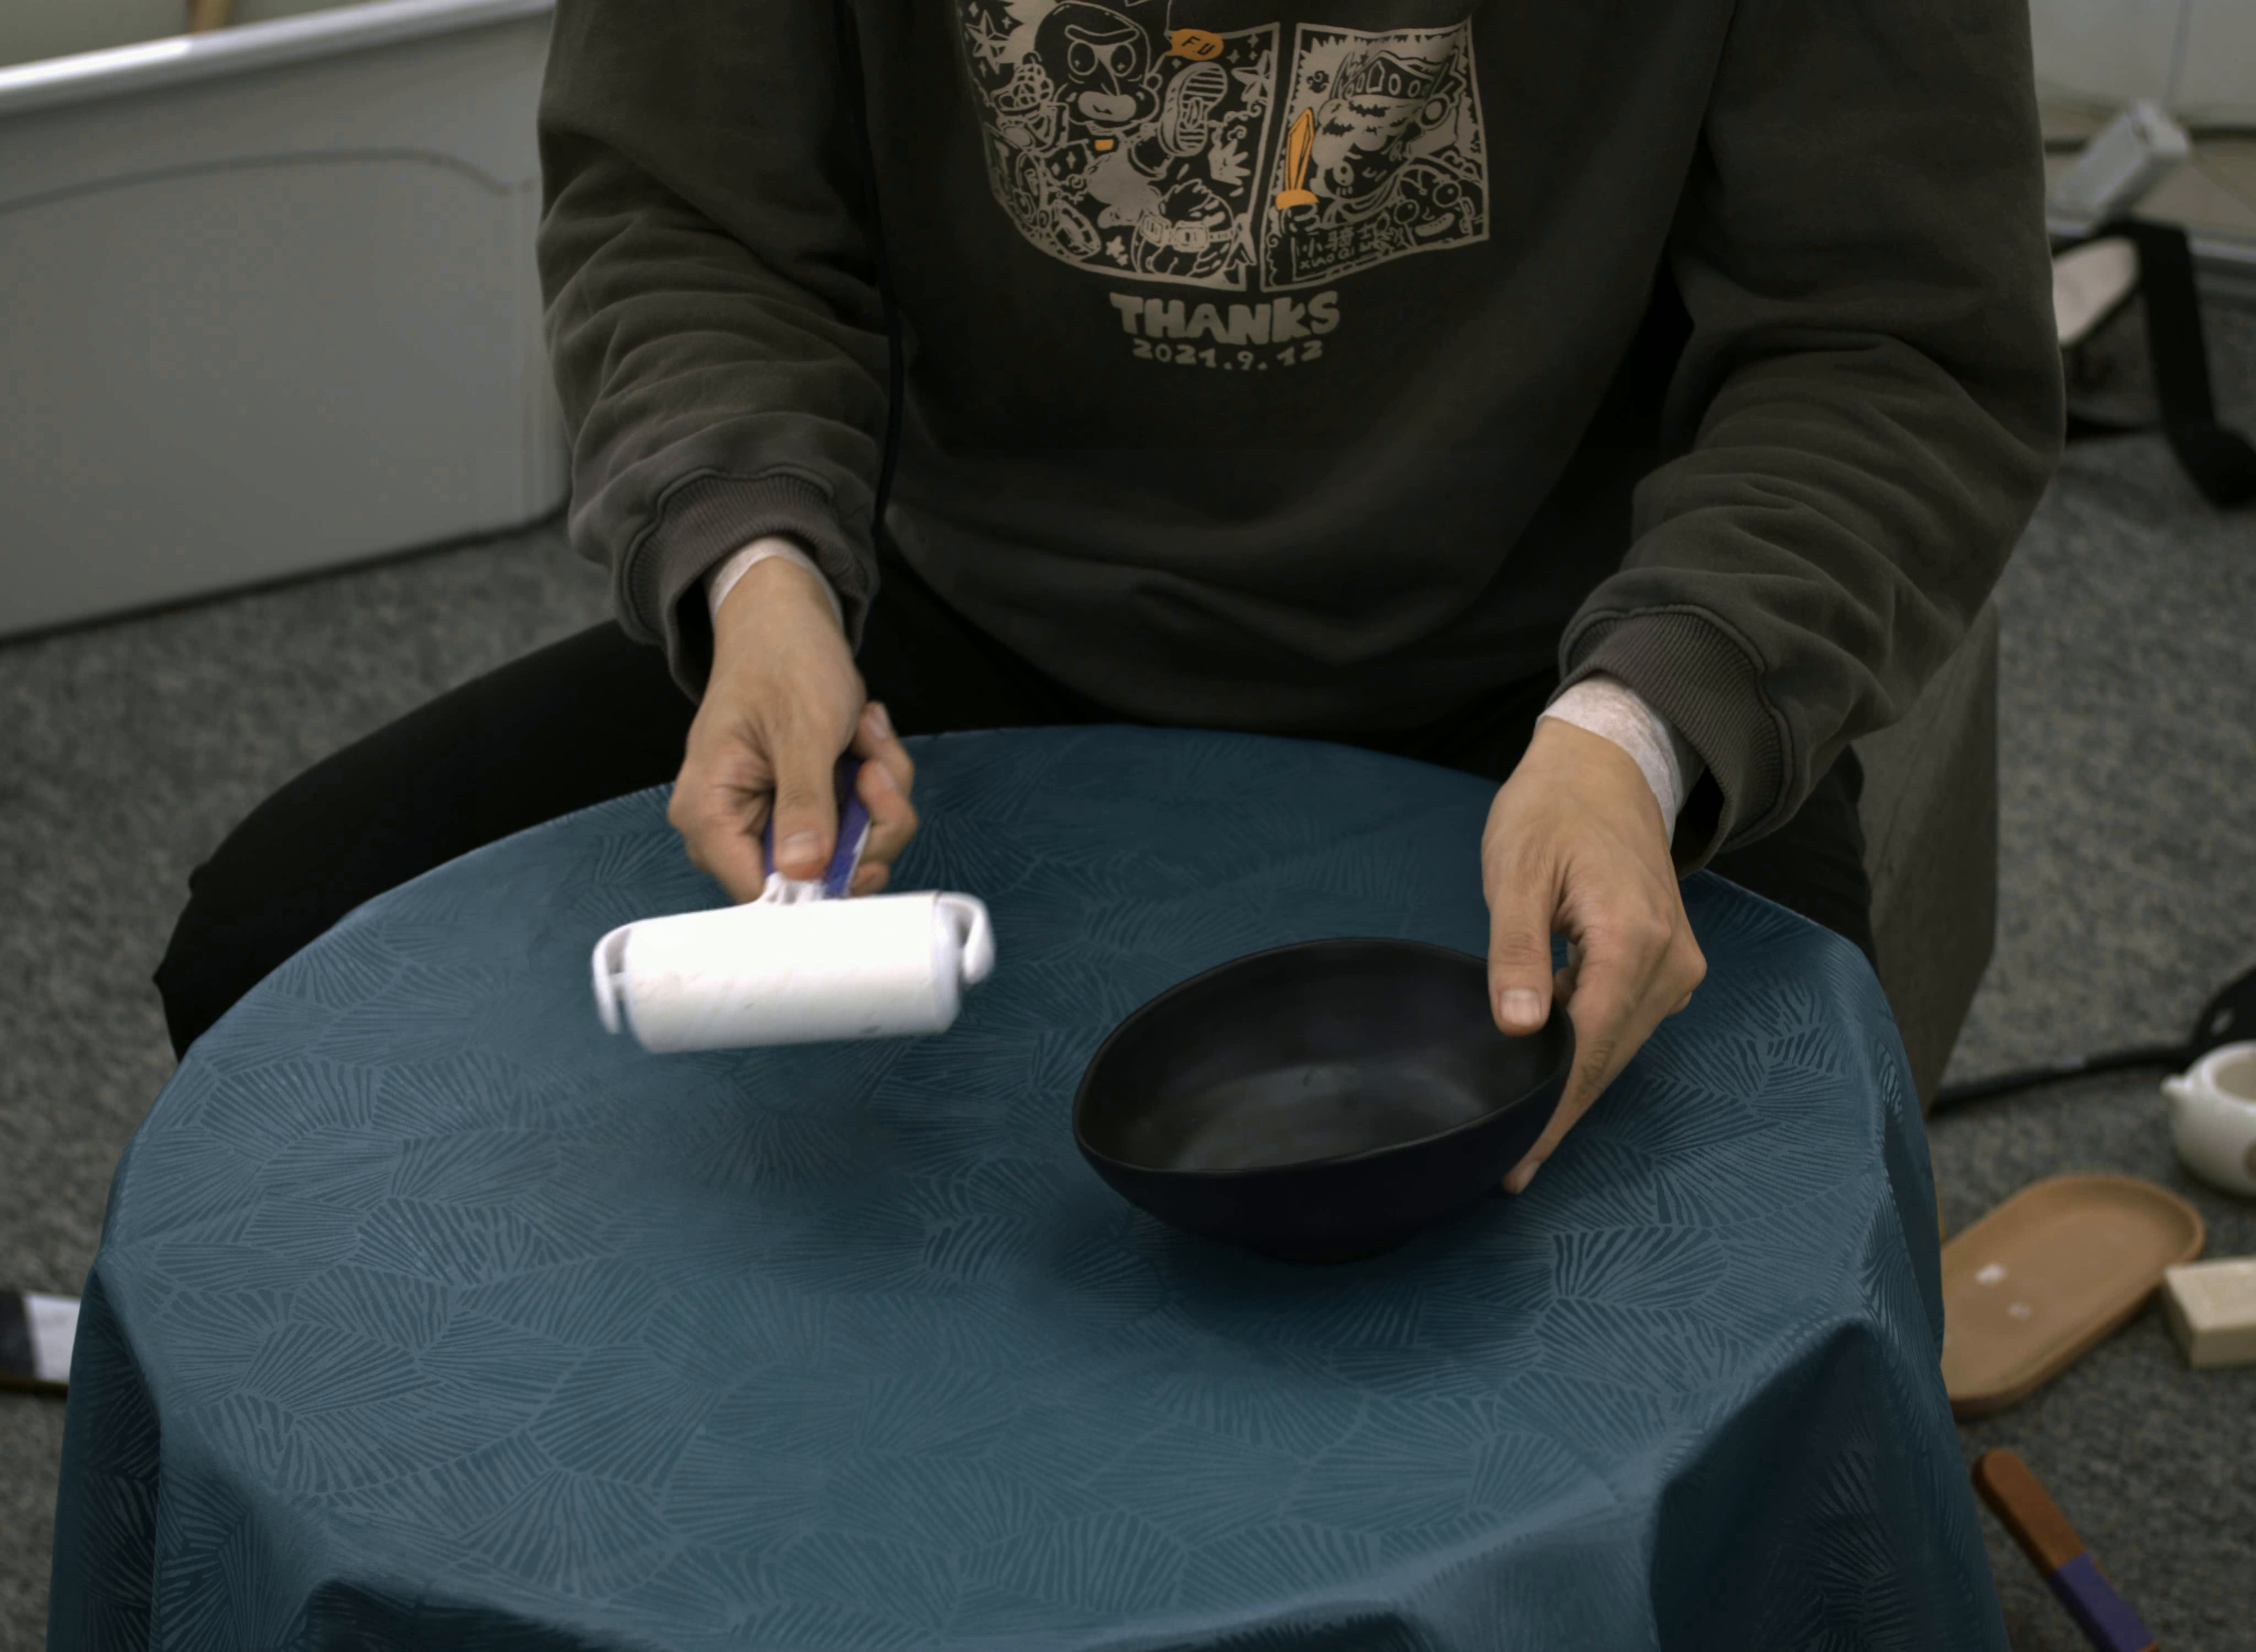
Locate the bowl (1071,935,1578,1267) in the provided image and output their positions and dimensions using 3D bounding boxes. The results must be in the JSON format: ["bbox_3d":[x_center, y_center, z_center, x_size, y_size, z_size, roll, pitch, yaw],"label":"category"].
[{"bbox_3d":[0.066,0.100,1.829,0.171,0.066,0.138,-15,28,-18],"label":"bowl"}]

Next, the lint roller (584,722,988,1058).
[{"bbox_3d":[-0.109,0.009,1.898,0.132,0.049,0.184,-2,39,6],"label":"lint roller"}]
